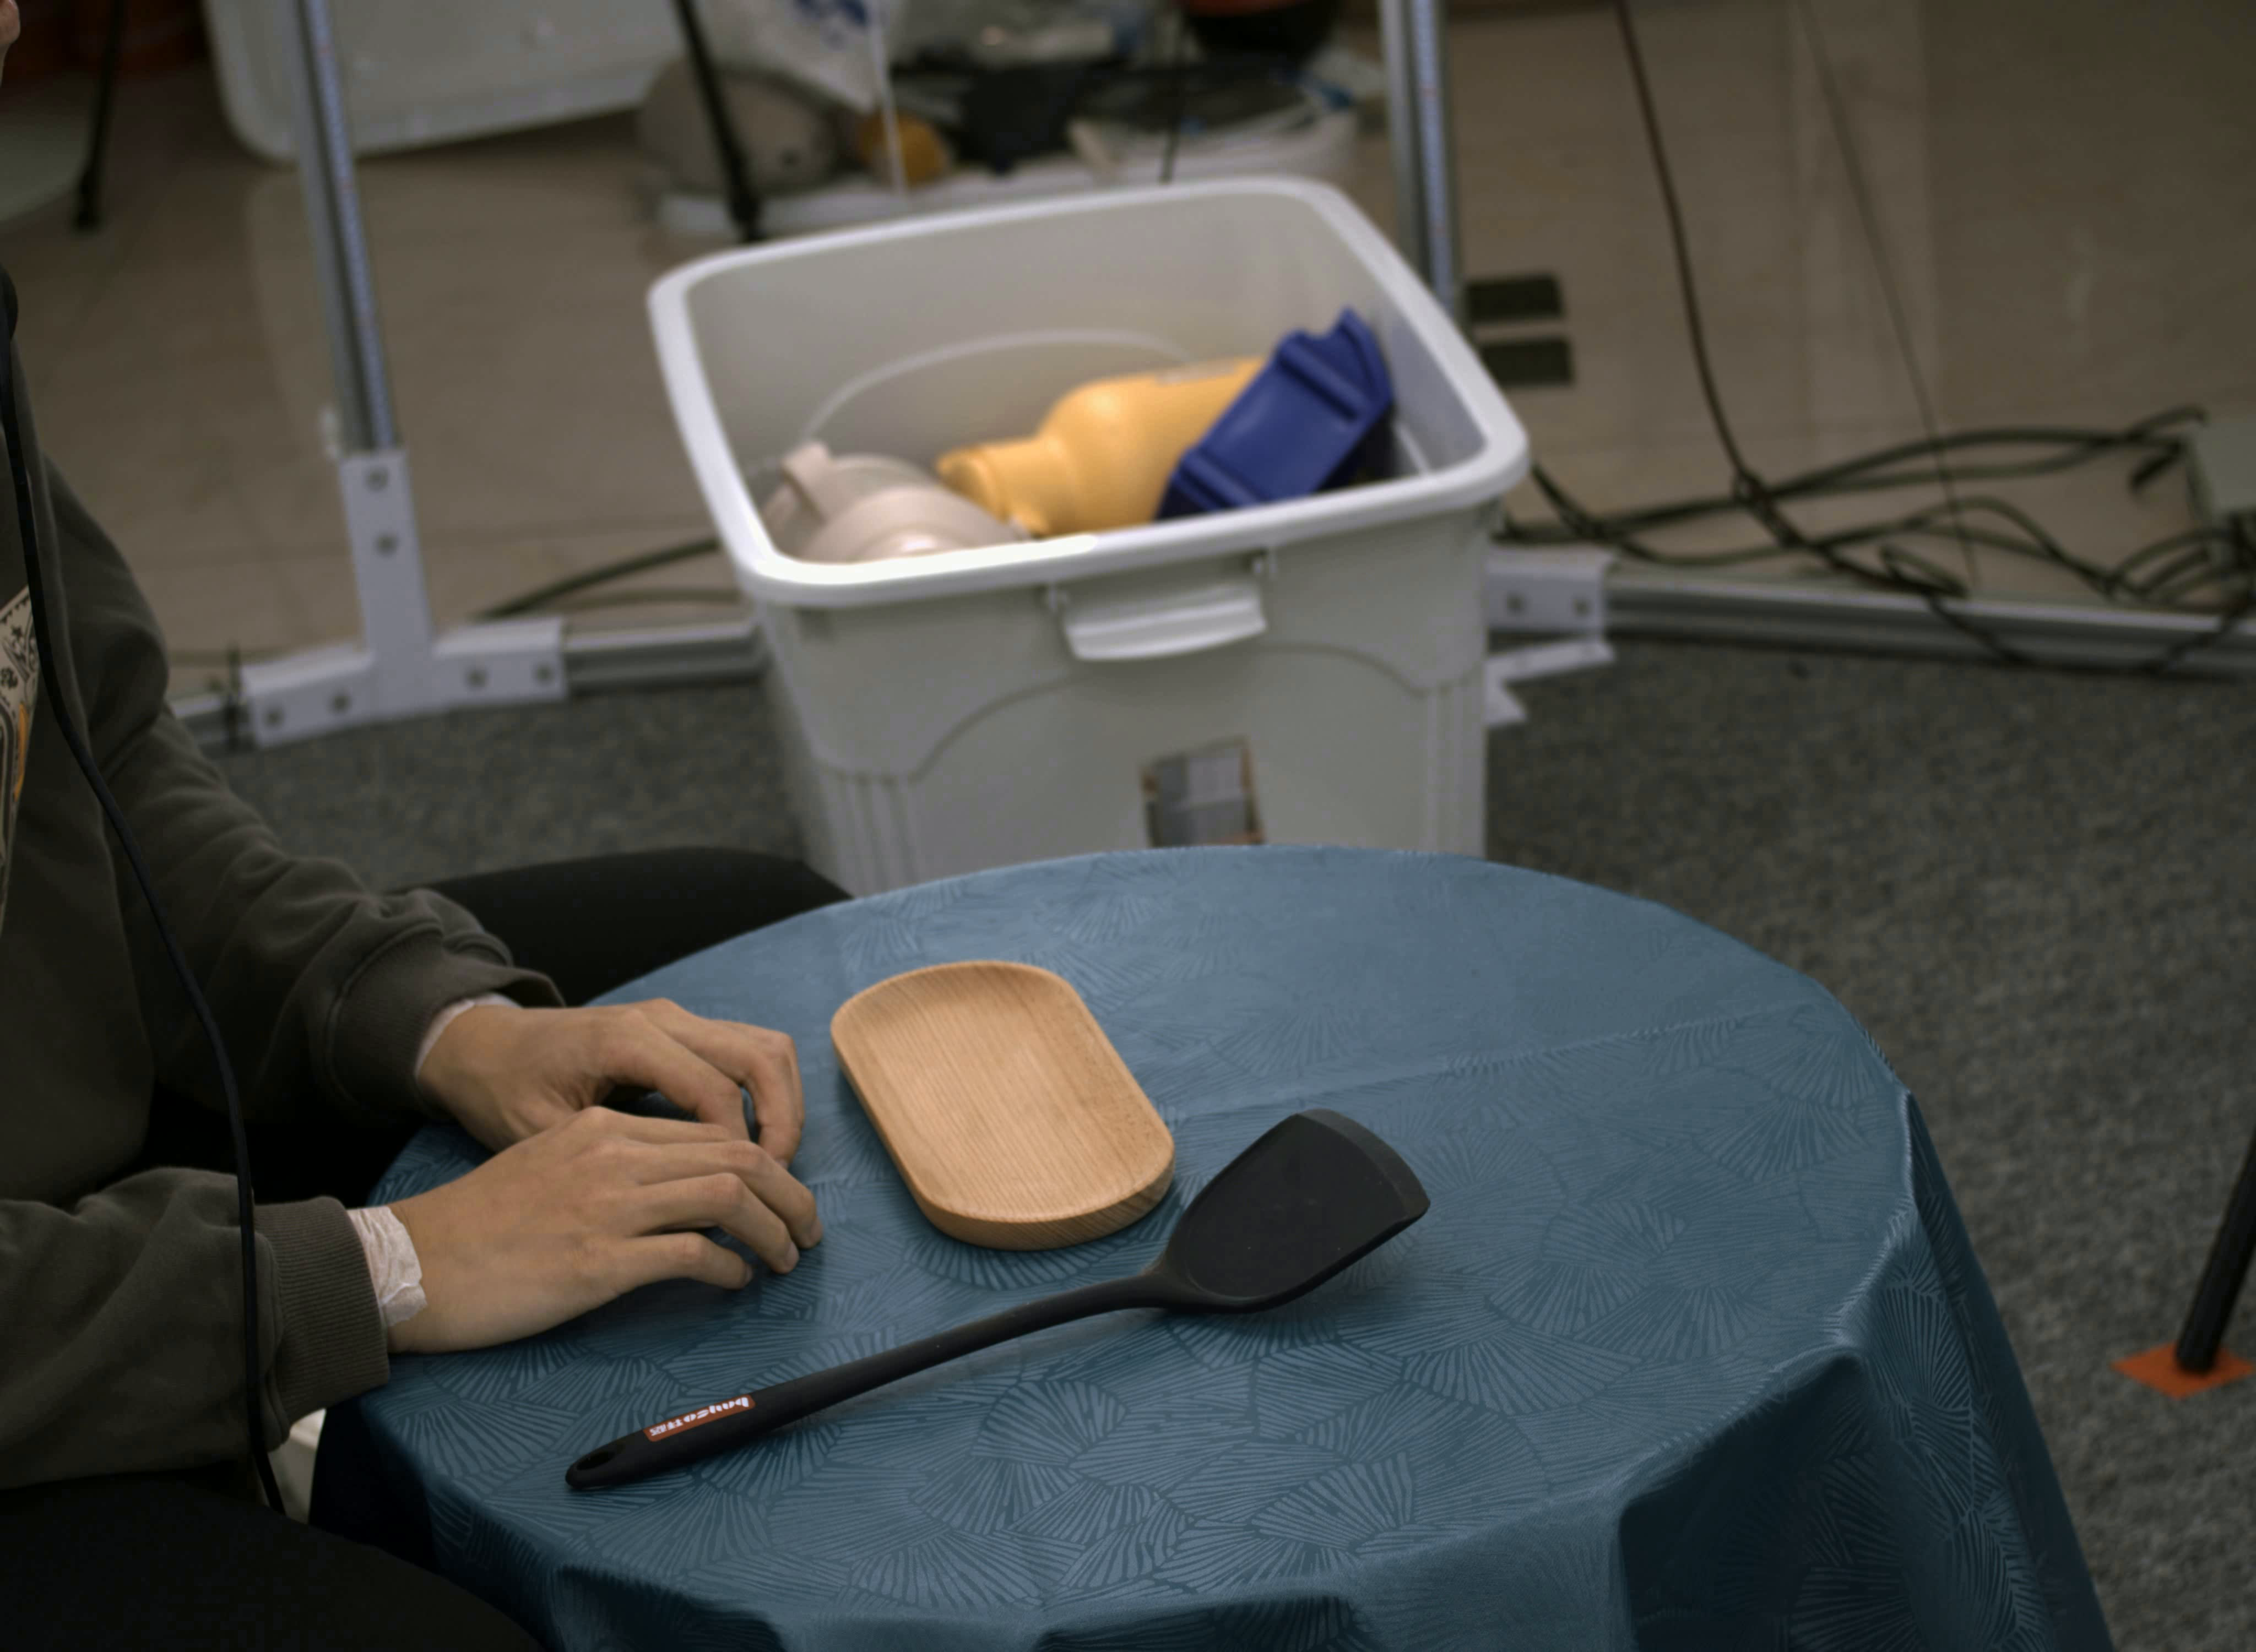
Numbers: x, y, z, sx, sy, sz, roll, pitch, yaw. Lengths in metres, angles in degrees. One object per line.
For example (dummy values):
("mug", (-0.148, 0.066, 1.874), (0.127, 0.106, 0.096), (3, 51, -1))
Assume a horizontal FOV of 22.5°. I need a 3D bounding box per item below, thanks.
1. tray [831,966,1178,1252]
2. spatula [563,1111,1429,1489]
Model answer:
("tray", (-0.049, 0.108, 2.206), (0.101, 0.020, 0.228), (-13, 27, -12))
("spatula", (-0.051, 0.176, 2.036), (0.325, 0.041, 0.098), (-15, 25, -18))
